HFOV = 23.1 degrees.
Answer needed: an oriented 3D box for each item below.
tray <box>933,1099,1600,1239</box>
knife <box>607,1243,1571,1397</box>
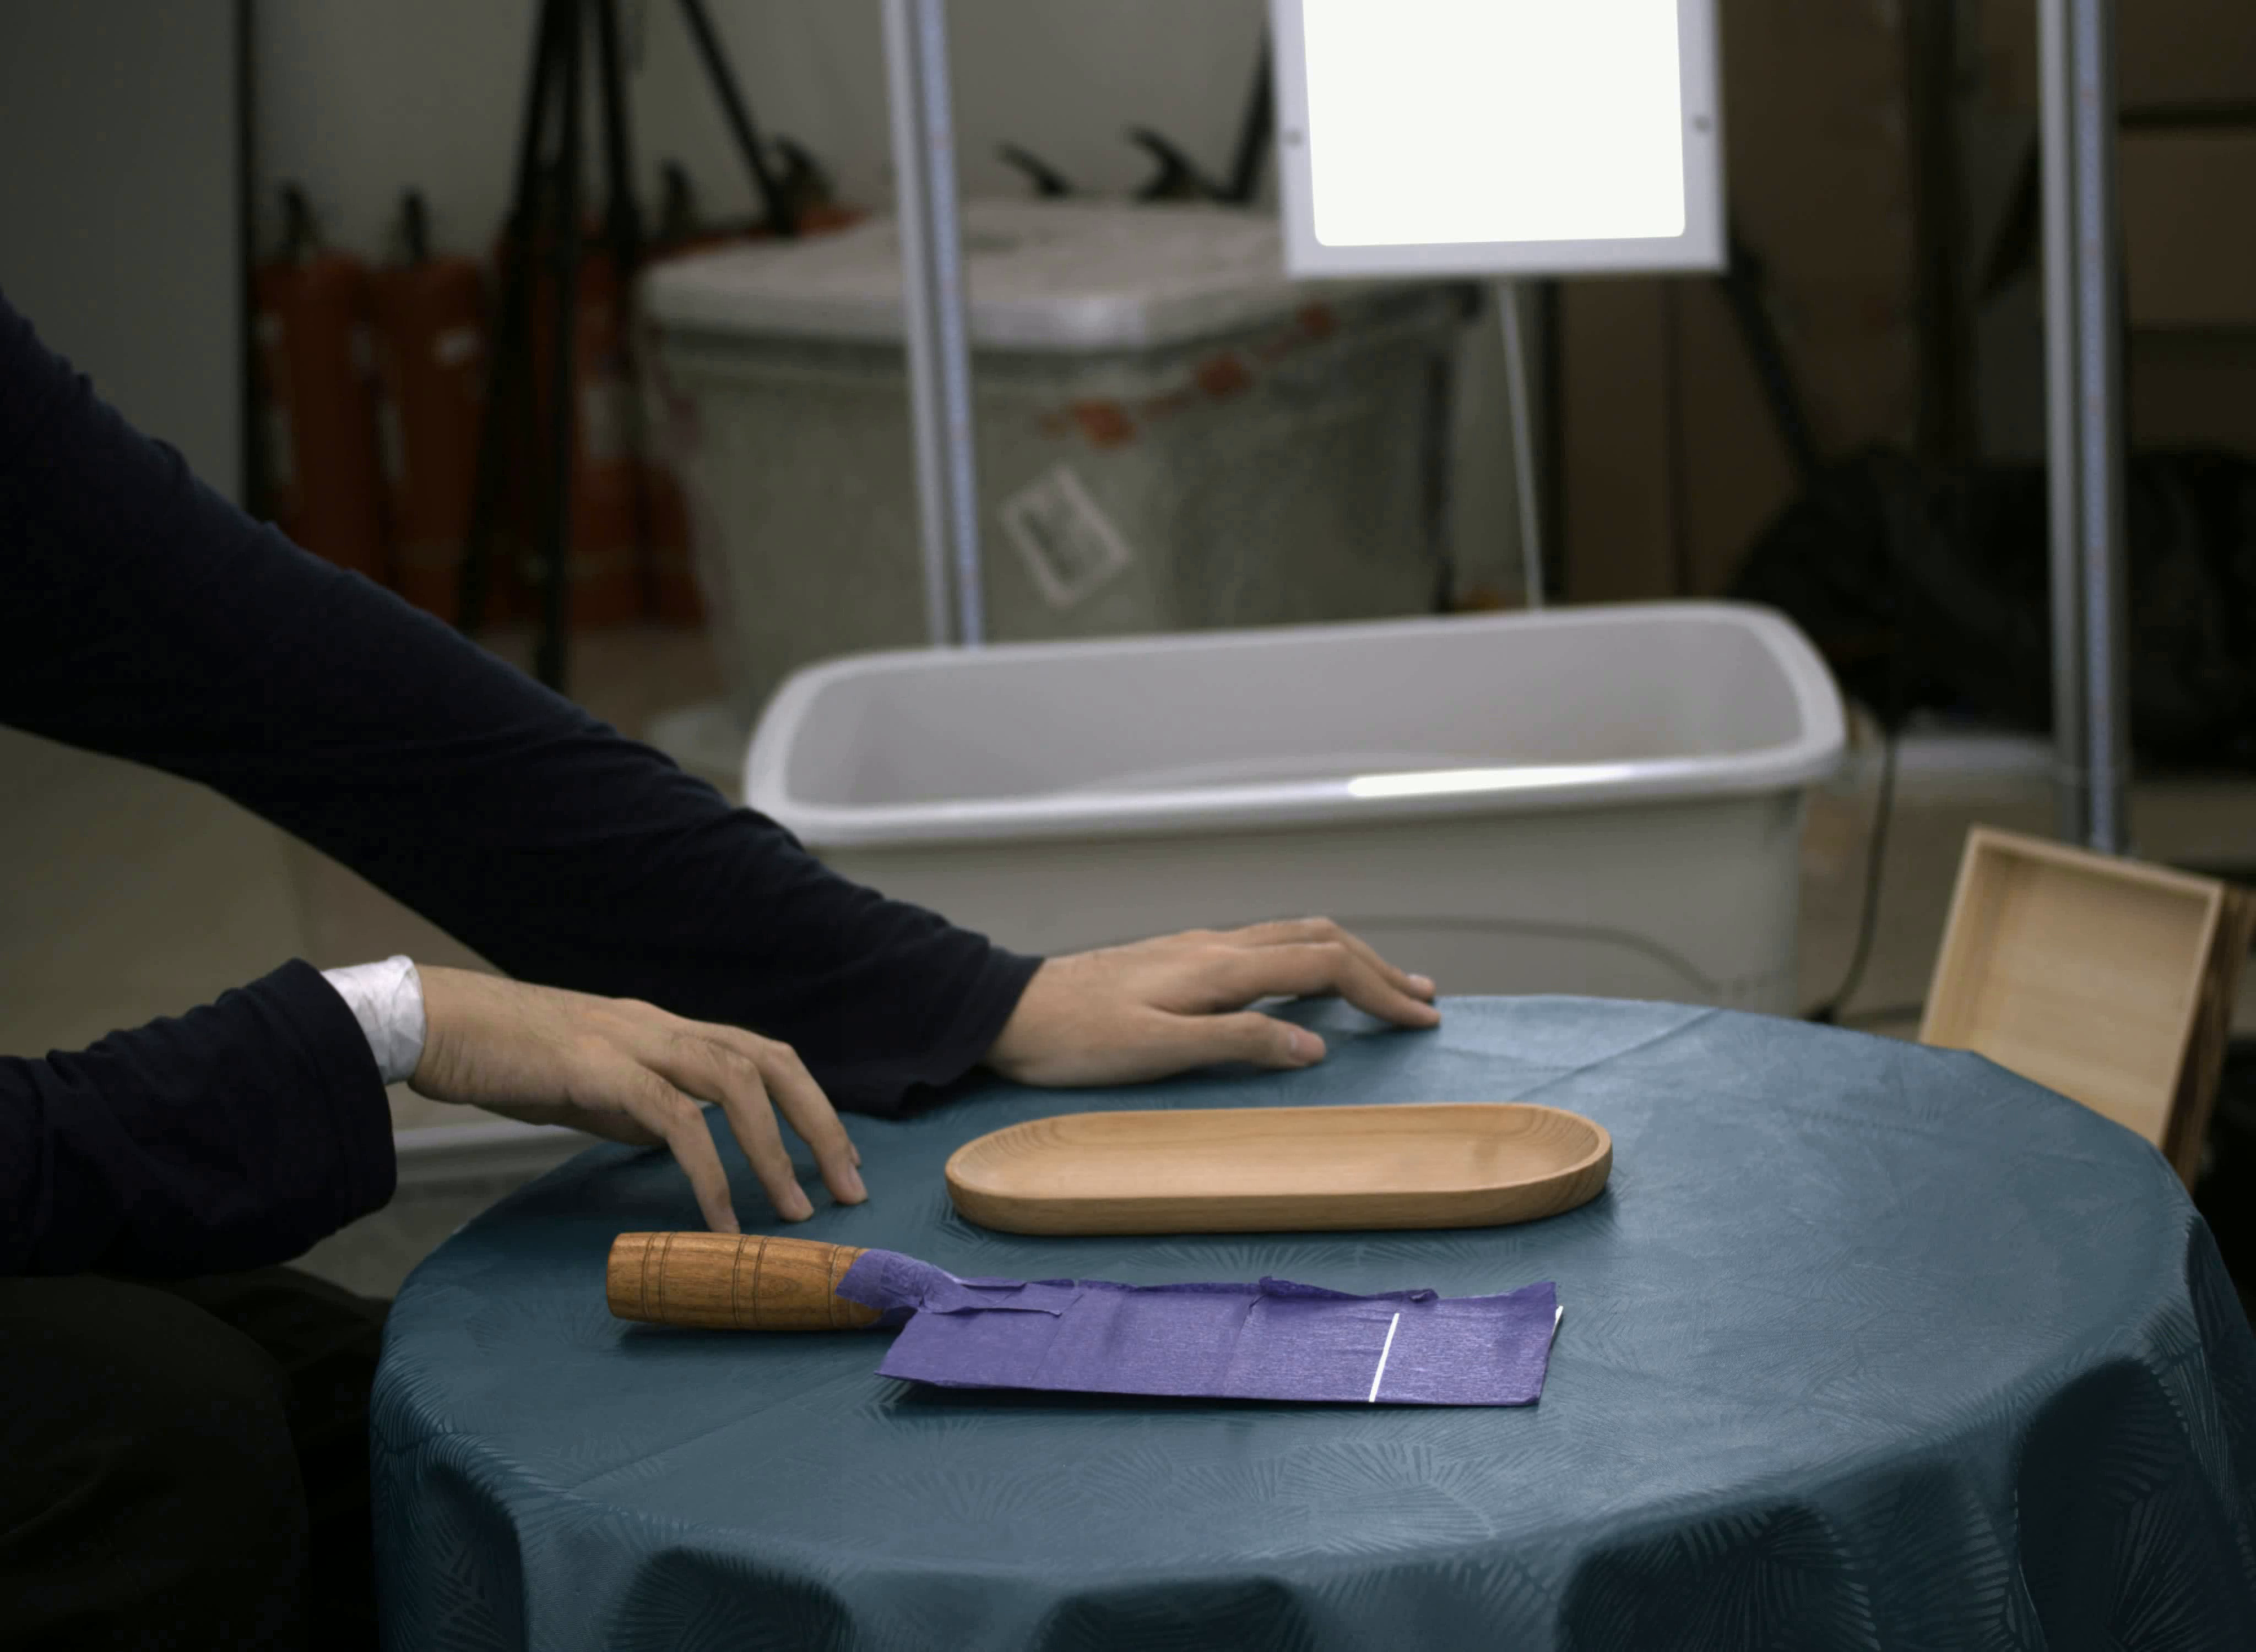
[{"bbox_3d":[0.047,0.118,1.886,0.233,0.020,0.100,-4,12,12],"label":"tray"},{"bbox_3d":[-0.019,0.156,1.734,0.318,0.032,0.102,-1,14,13],"label":"knife"}]
